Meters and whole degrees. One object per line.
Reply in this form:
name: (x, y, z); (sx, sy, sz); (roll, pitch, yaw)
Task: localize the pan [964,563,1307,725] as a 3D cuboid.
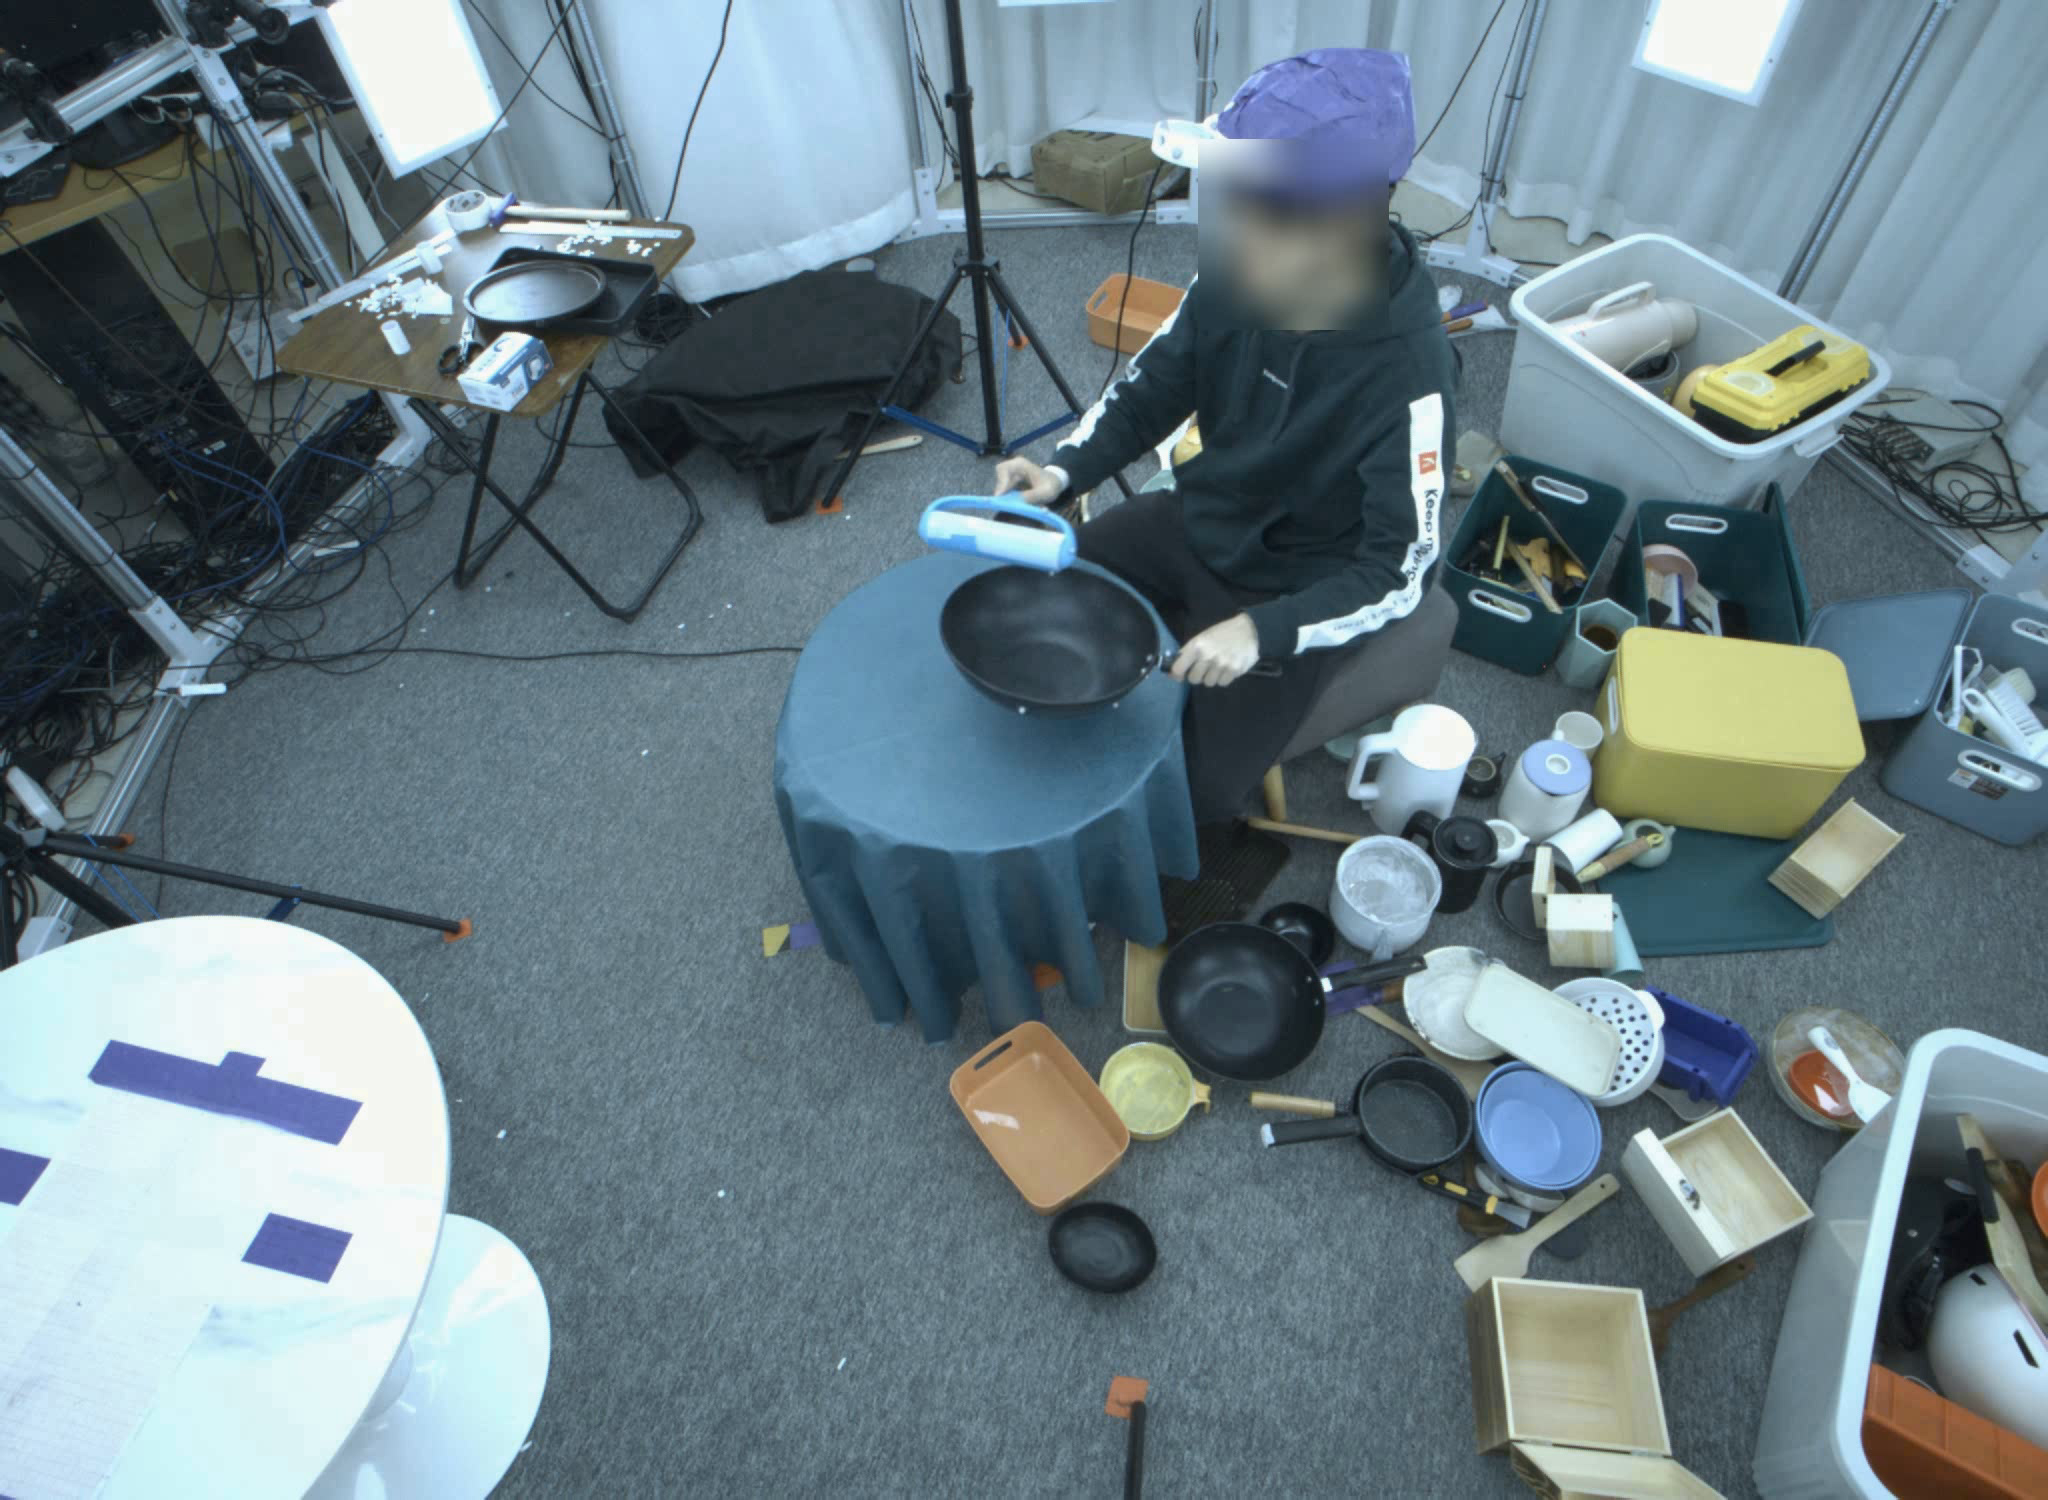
pan: (0.149, -0.122, 1.714); (0.475, 0.112, 0.309); (16, 47, 6)

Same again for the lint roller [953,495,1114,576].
lint roller: (0.024, -0.328, 1.749); (0.228, 0.068, 0.179); (9, 47, 7)
